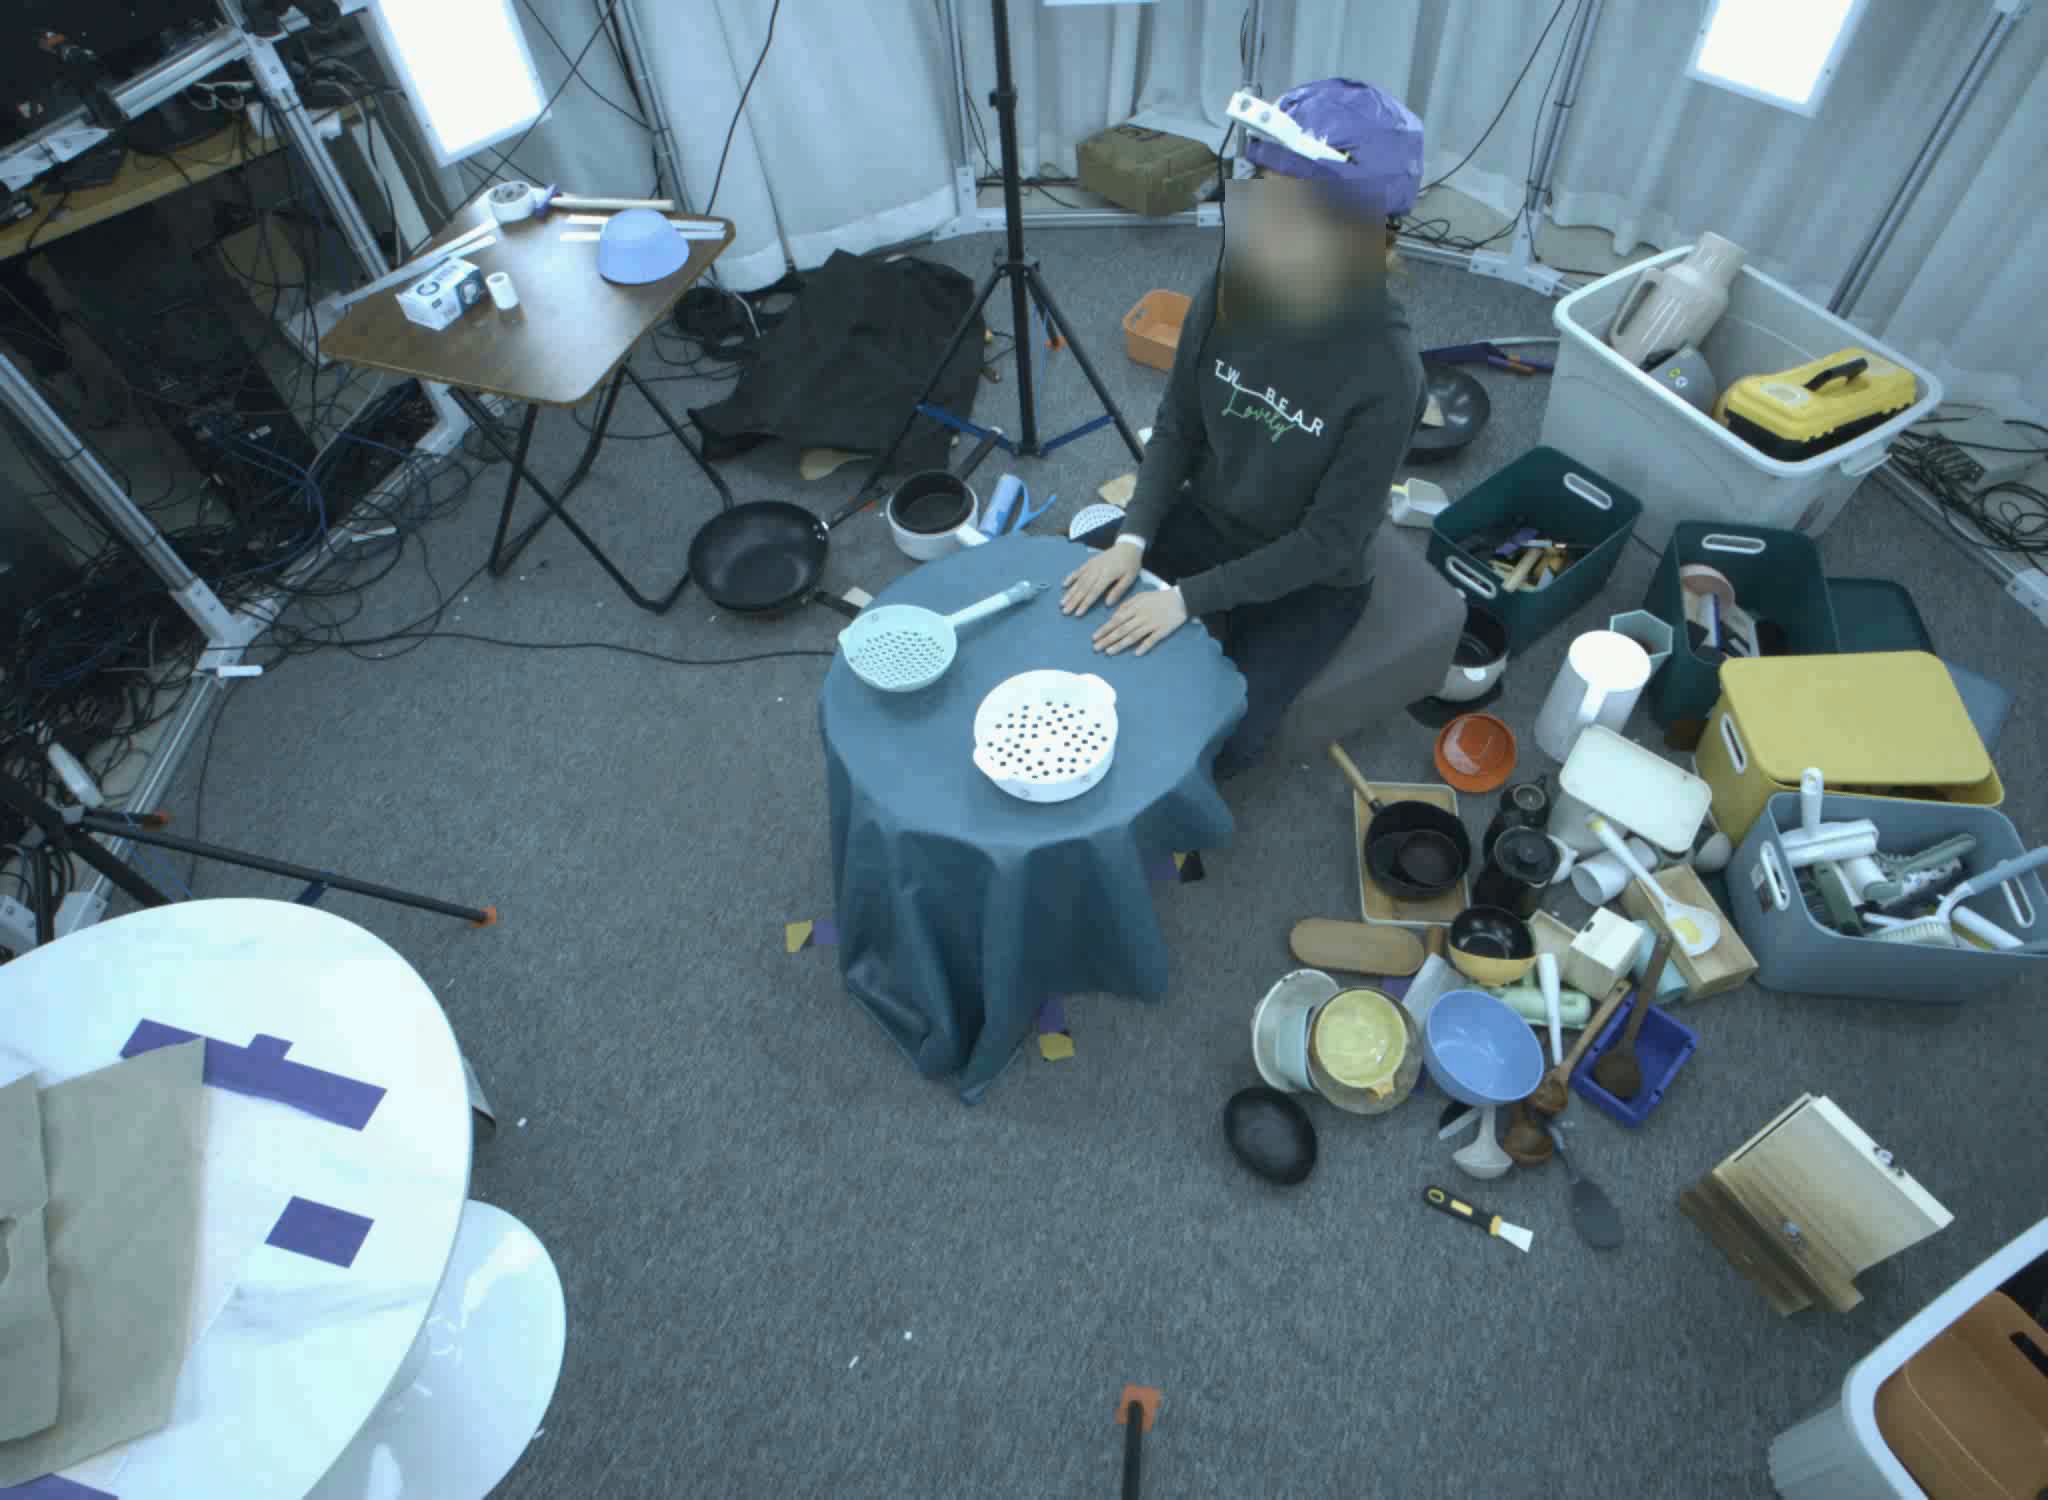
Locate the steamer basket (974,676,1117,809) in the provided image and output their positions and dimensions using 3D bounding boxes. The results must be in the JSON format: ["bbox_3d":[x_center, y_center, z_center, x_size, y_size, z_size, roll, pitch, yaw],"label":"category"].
[{"bbox_3d":[0.032,-0.009,1.764,0.232,0.070,0.198,-36,62,-22],"label":"steamer basket"}]

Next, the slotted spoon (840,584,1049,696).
[{"bbox_3d":[-0.108,-0.189,1.894,0.361,0.076,0.166,-33,61,-19],"label":"slotted spoon"}]
